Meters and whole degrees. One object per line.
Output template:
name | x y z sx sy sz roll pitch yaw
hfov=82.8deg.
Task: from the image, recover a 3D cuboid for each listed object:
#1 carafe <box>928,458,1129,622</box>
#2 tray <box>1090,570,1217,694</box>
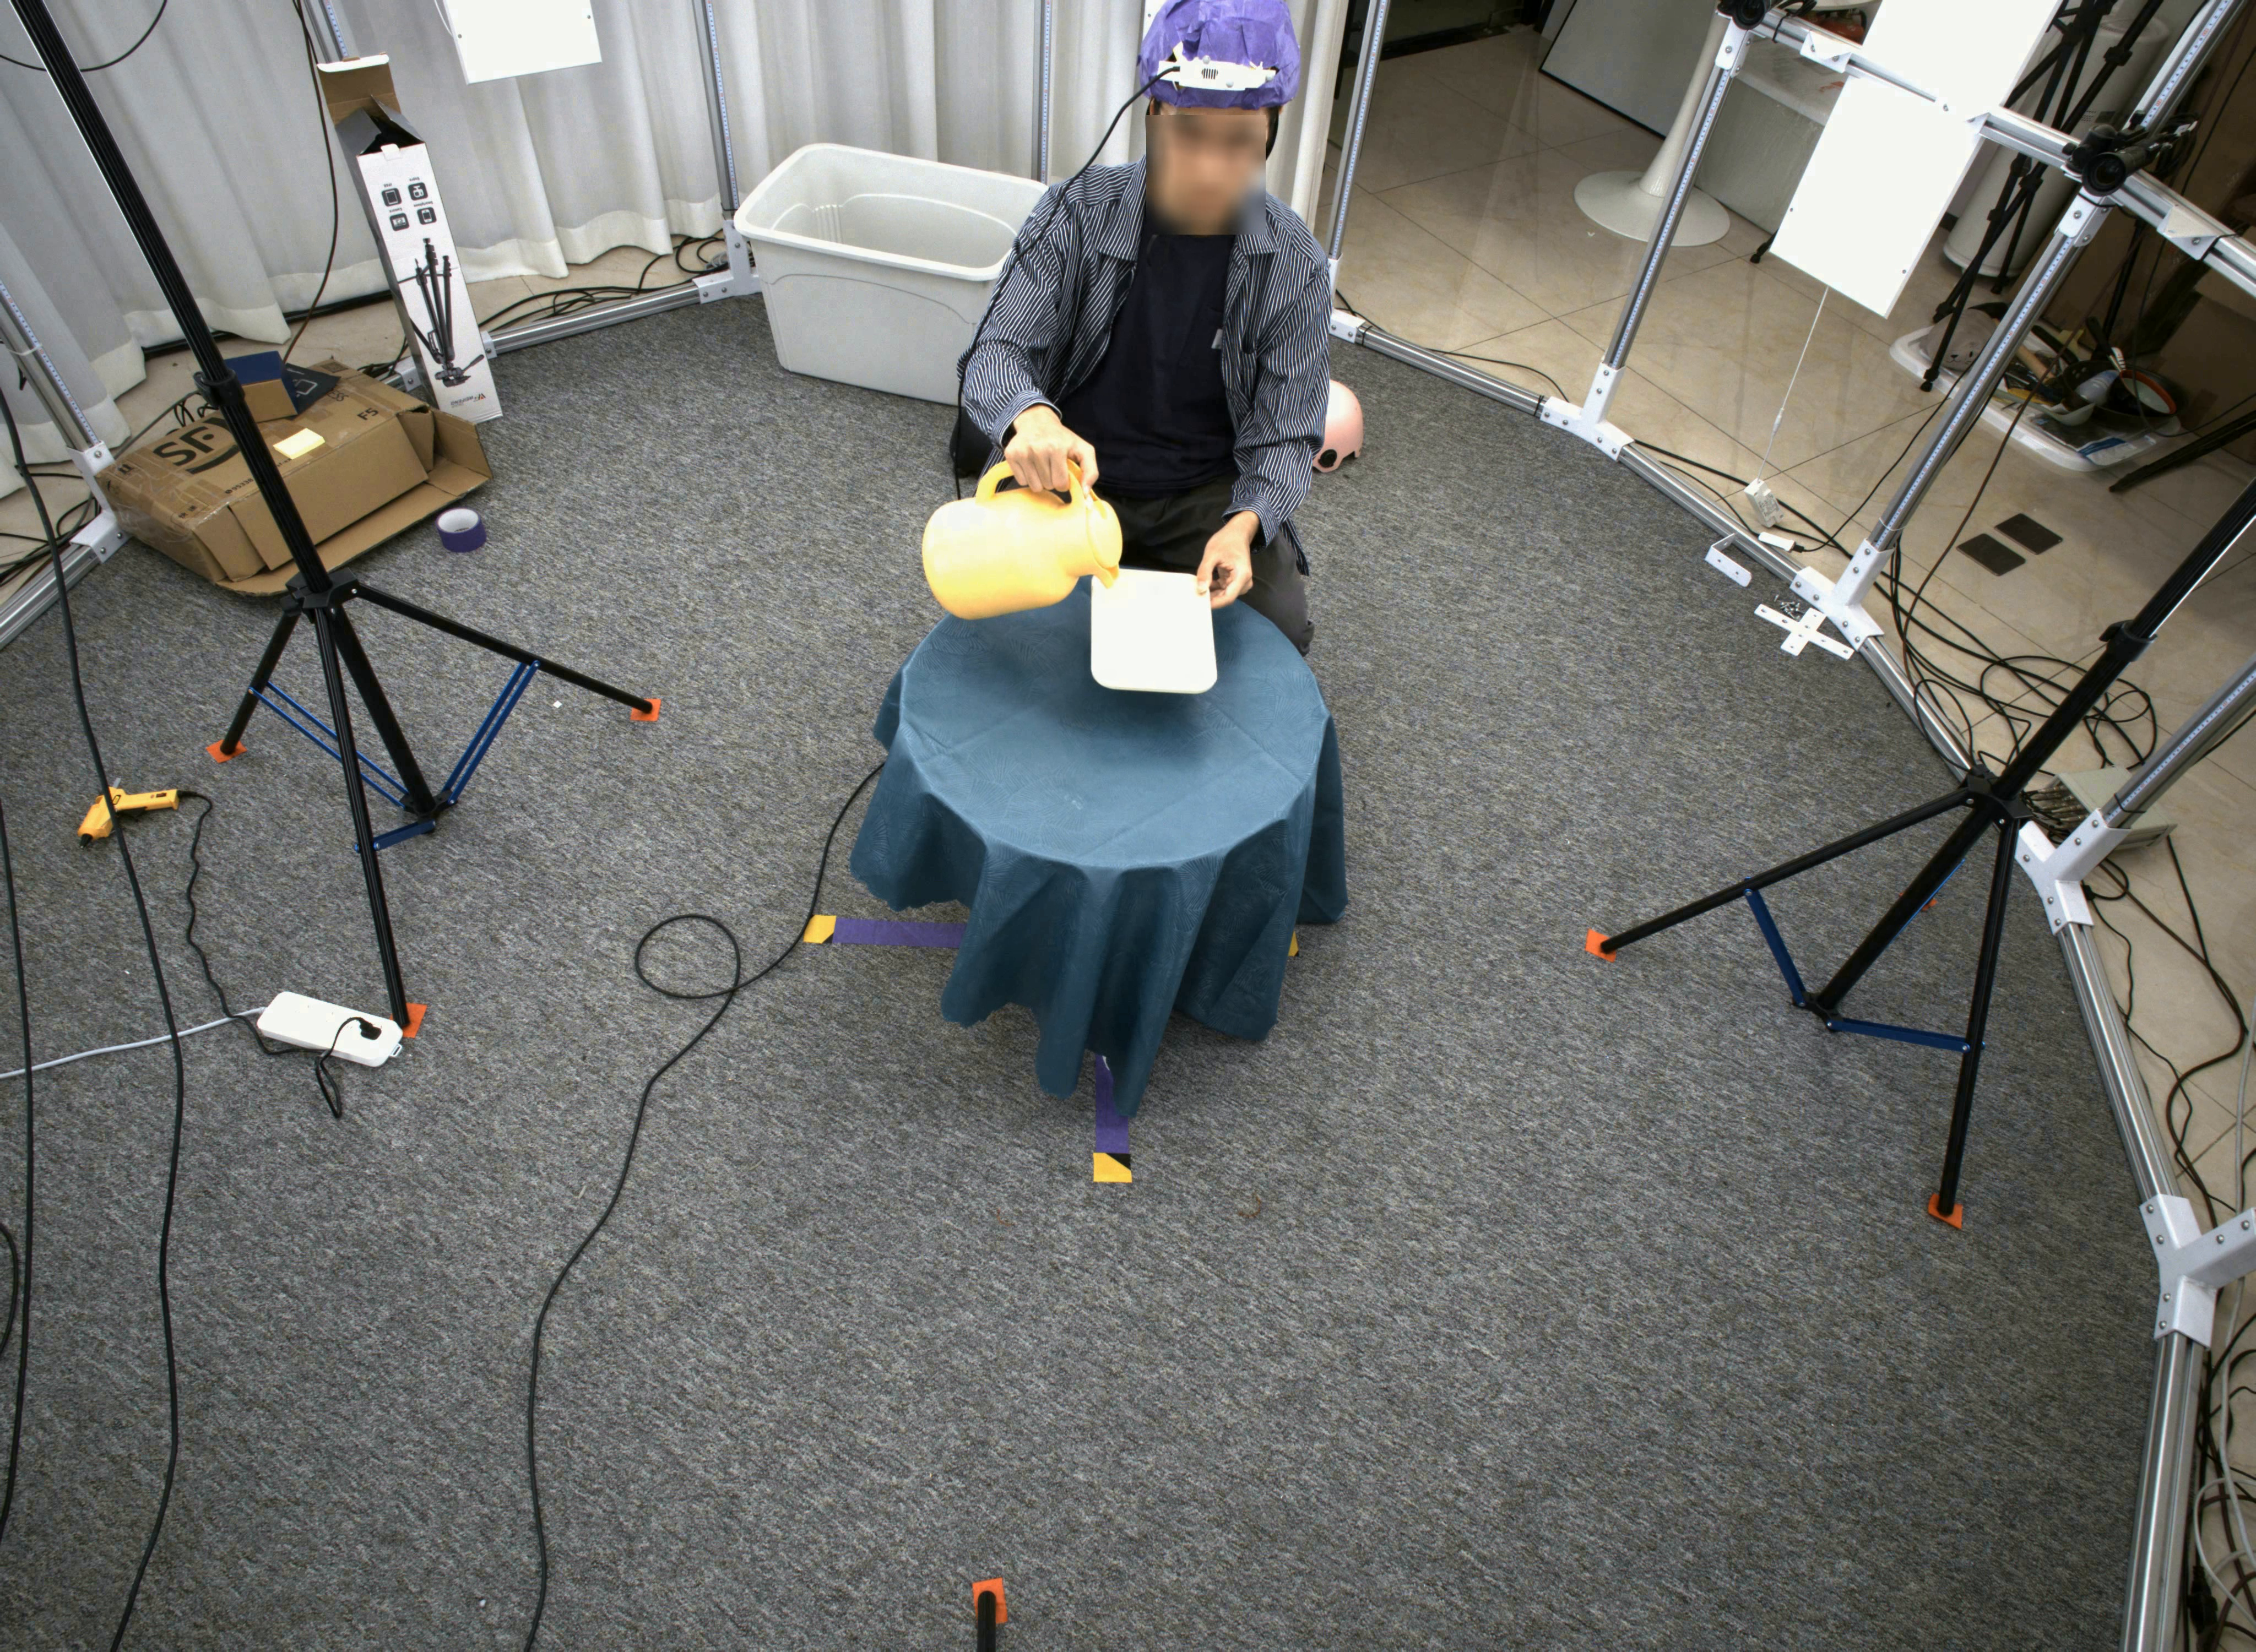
carafe | -0.135 -0.387 1.735 0.260 0.198 0.167 -6 34 23
tray | 0.033 -0.271 1.783 0.171 0.017 0.246 3 49 -6
